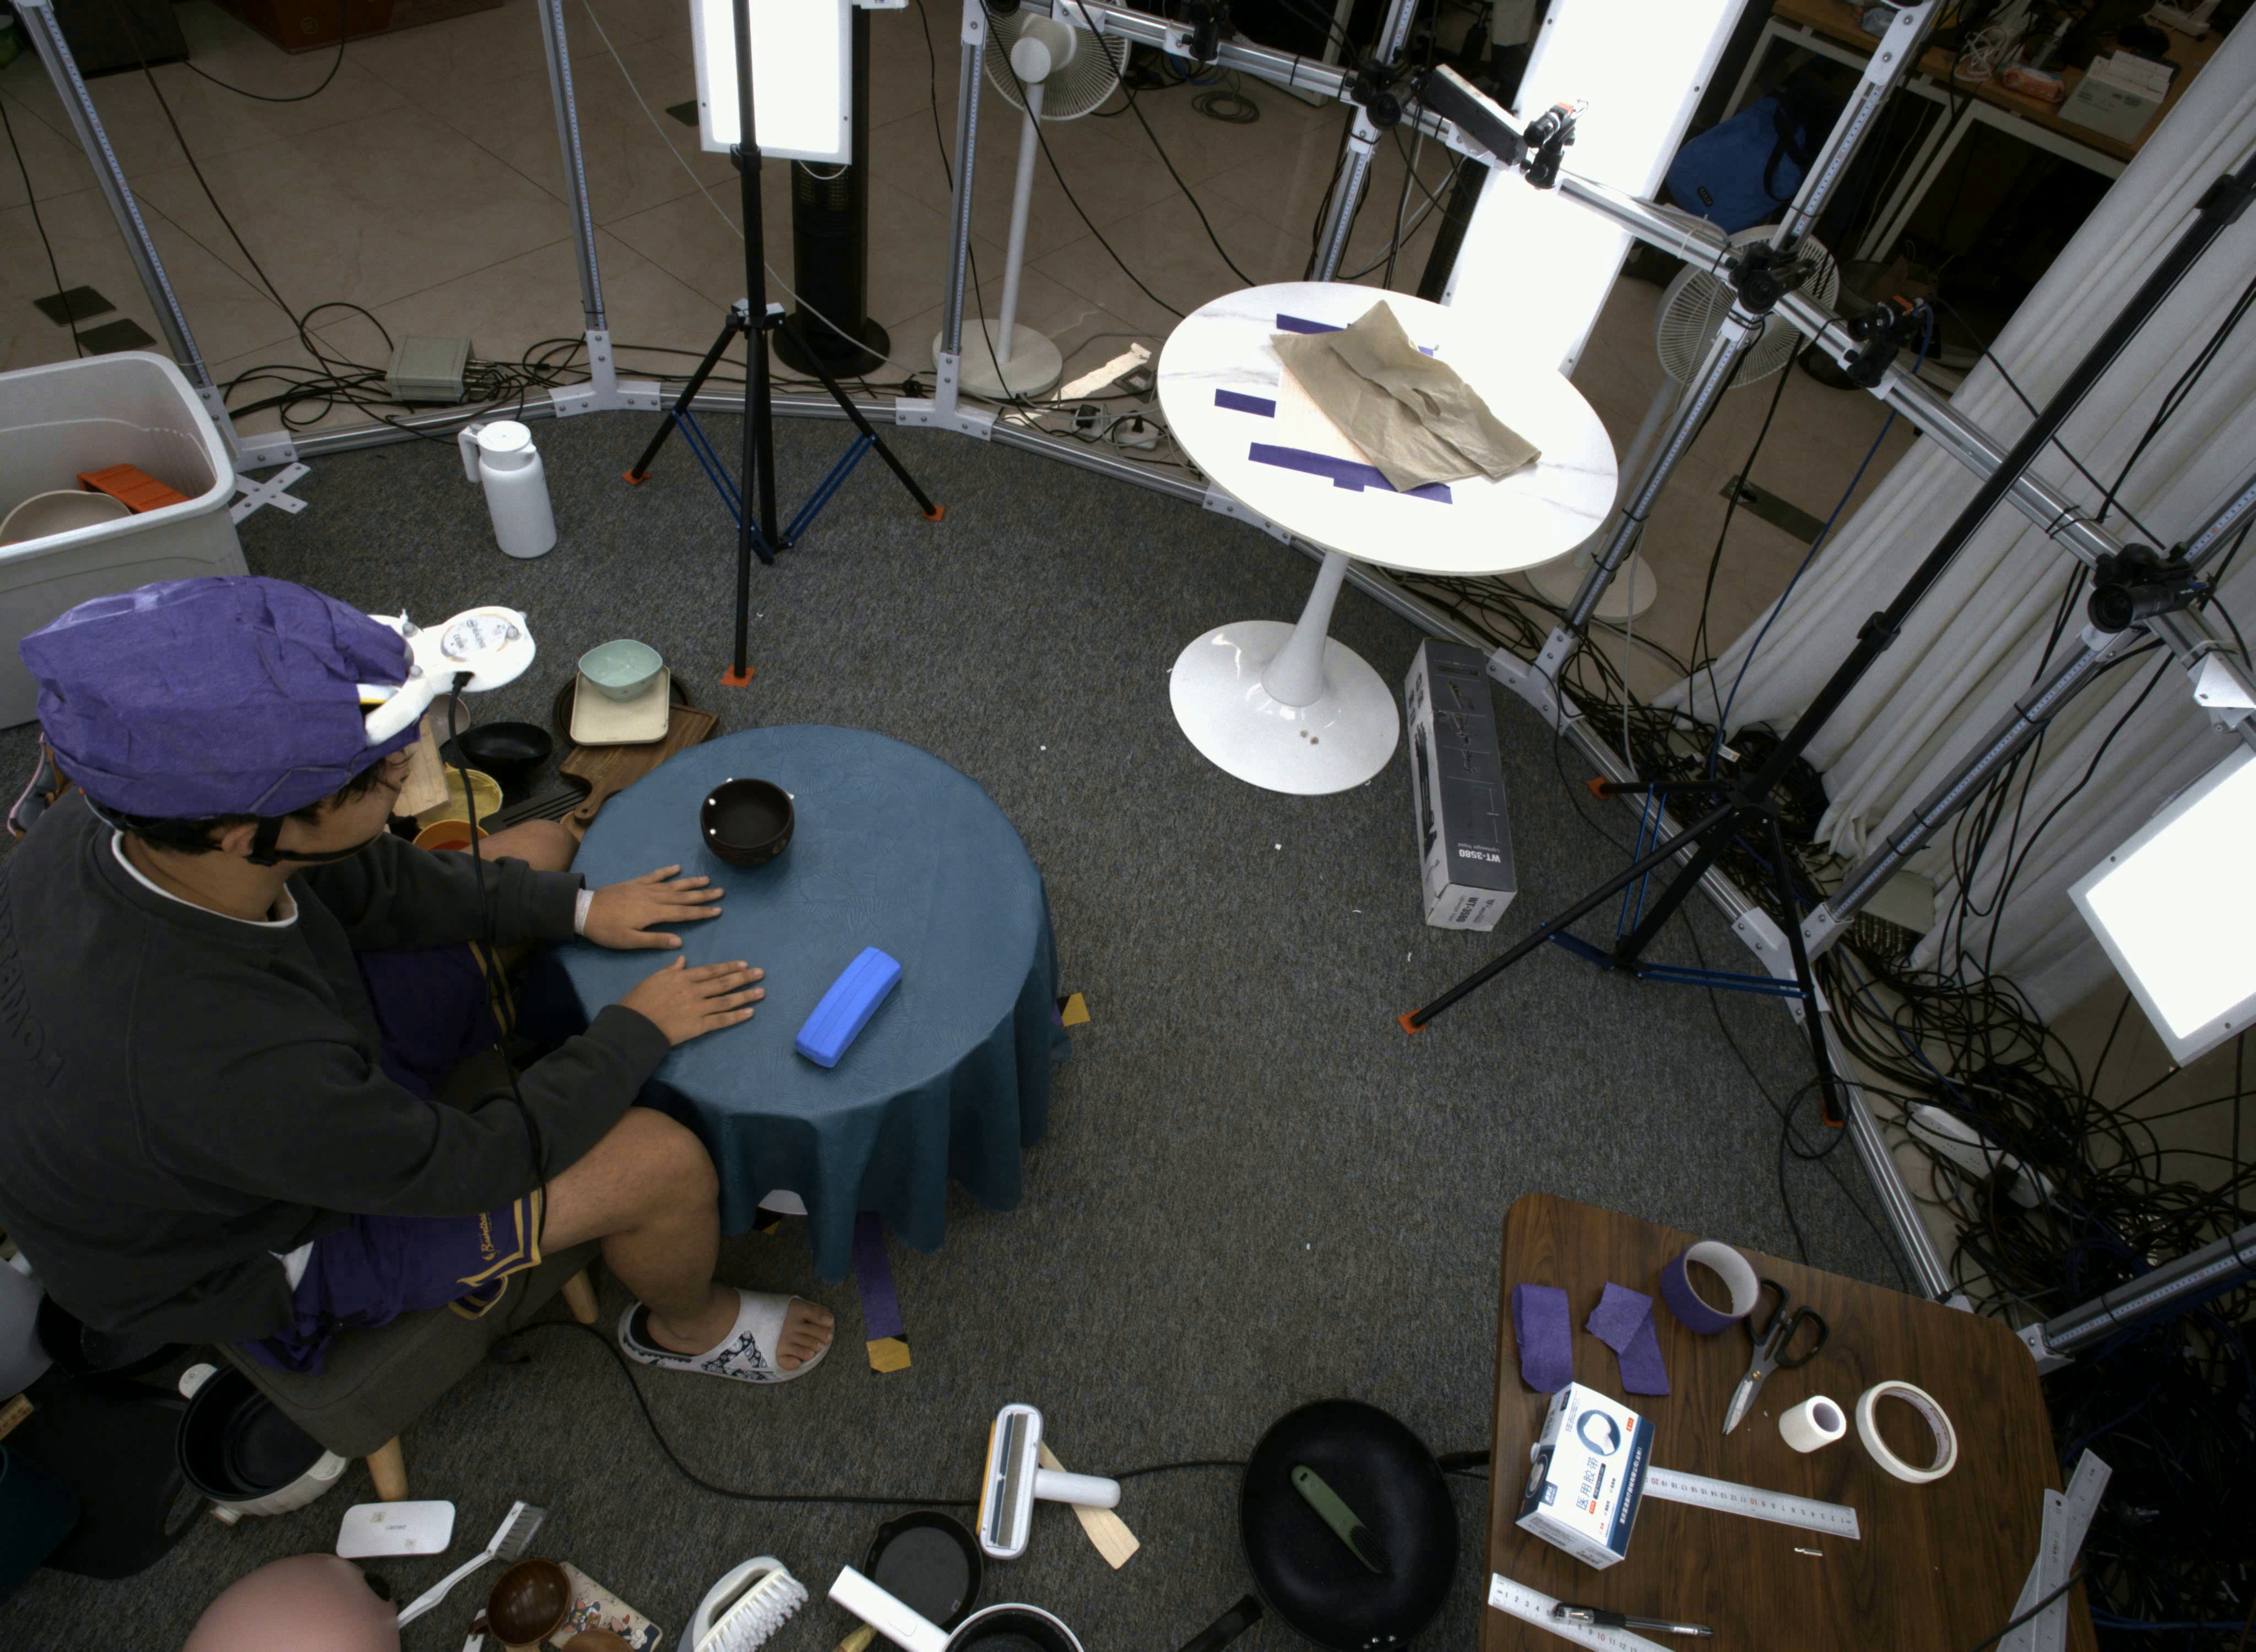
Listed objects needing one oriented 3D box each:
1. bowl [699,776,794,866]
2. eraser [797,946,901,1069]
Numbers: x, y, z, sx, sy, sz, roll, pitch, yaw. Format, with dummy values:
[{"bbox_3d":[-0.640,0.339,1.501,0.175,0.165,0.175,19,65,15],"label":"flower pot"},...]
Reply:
[{"bbox_3d":[-0.490,0.000,1.664,0.118,0.071,0.116,7,53,-8],"label":"bowl"},{"bbox_3d":[-0.335,0.211,1.565,0.053,0.048,0.161,28,52,6],"label":"eraser"}]
